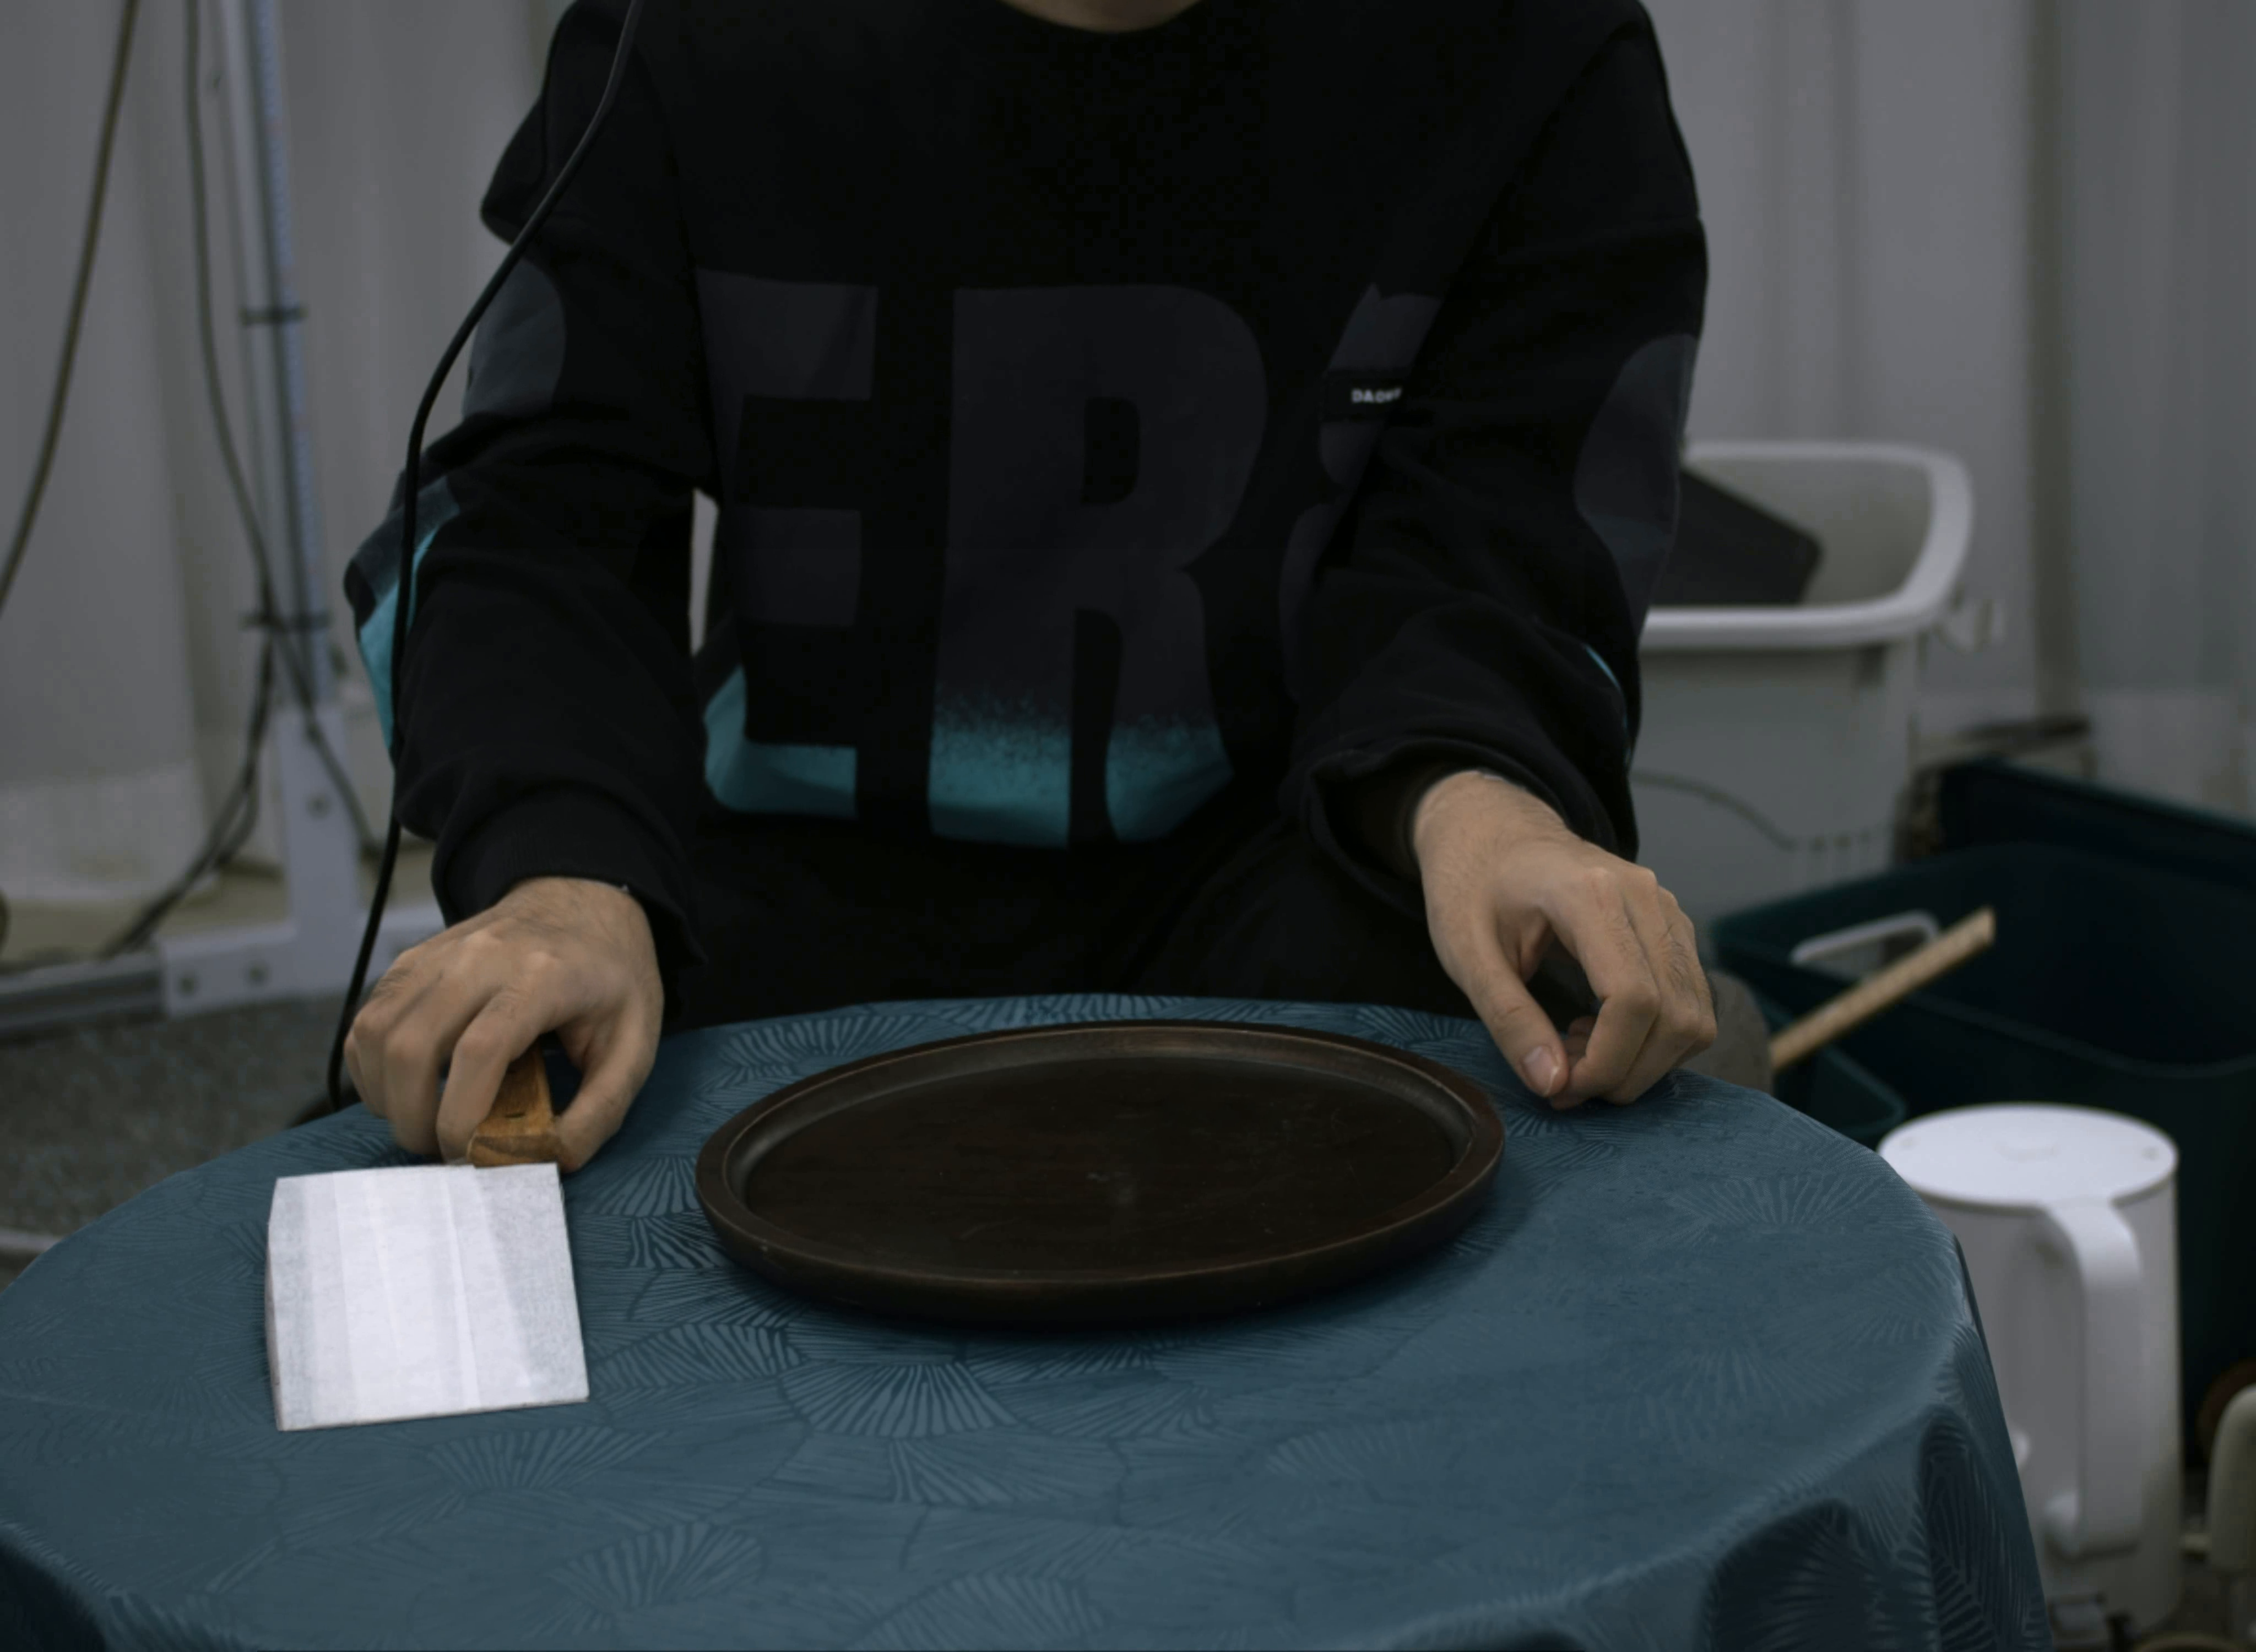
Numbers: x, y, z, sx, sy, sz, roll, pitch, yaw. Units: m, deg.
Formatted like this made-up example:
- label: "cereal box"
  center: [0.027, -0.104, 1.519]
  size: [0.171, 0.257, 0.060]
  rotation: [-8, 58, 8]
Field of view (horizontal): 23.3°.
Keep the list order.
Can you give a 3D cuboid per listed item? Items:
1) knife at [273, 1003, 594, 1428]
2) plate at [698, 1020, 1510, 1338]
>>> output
- label: "knife"
  center: [-0.218, 0.119, 1.697]
  size: [0.092, 0.021, 0.308]
  rotation: [-5, 19, -7]
- label: "plate"
  center: [-0.007, 0.107, 1.698]
  size: [0.254, 0.029, 0.256]
  rotation: [-2, 15, 0]
